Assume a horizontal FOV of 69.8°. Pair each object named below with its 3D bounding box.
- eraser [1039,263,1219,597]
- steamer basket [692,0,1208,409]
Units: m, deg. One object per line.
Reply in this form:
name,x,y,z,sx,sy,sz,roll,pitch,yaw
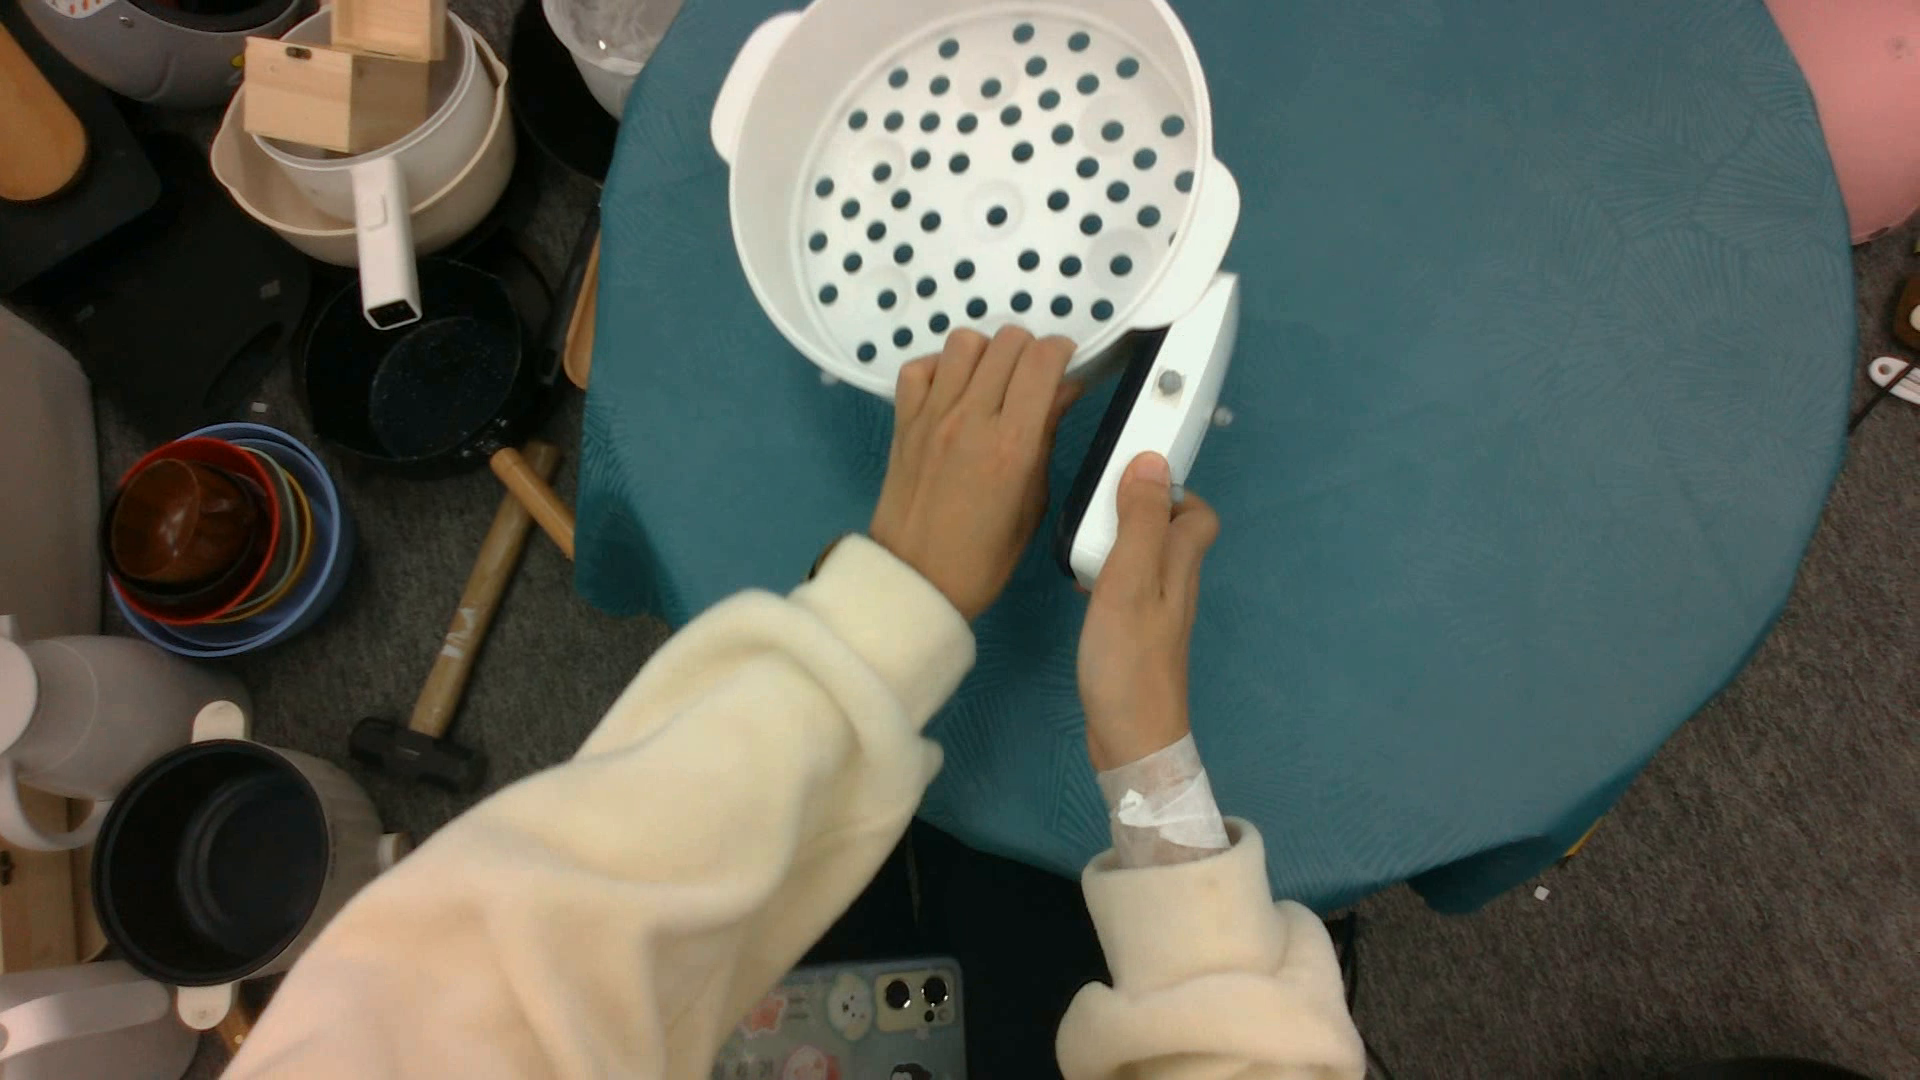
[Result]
eraser,0.071,-0.044,0.541,0.034,0.063,0.131,20,77,16
steamer basket,-0.003,-0.154,0.579,0.230,0.069,0.202,25,87,22
